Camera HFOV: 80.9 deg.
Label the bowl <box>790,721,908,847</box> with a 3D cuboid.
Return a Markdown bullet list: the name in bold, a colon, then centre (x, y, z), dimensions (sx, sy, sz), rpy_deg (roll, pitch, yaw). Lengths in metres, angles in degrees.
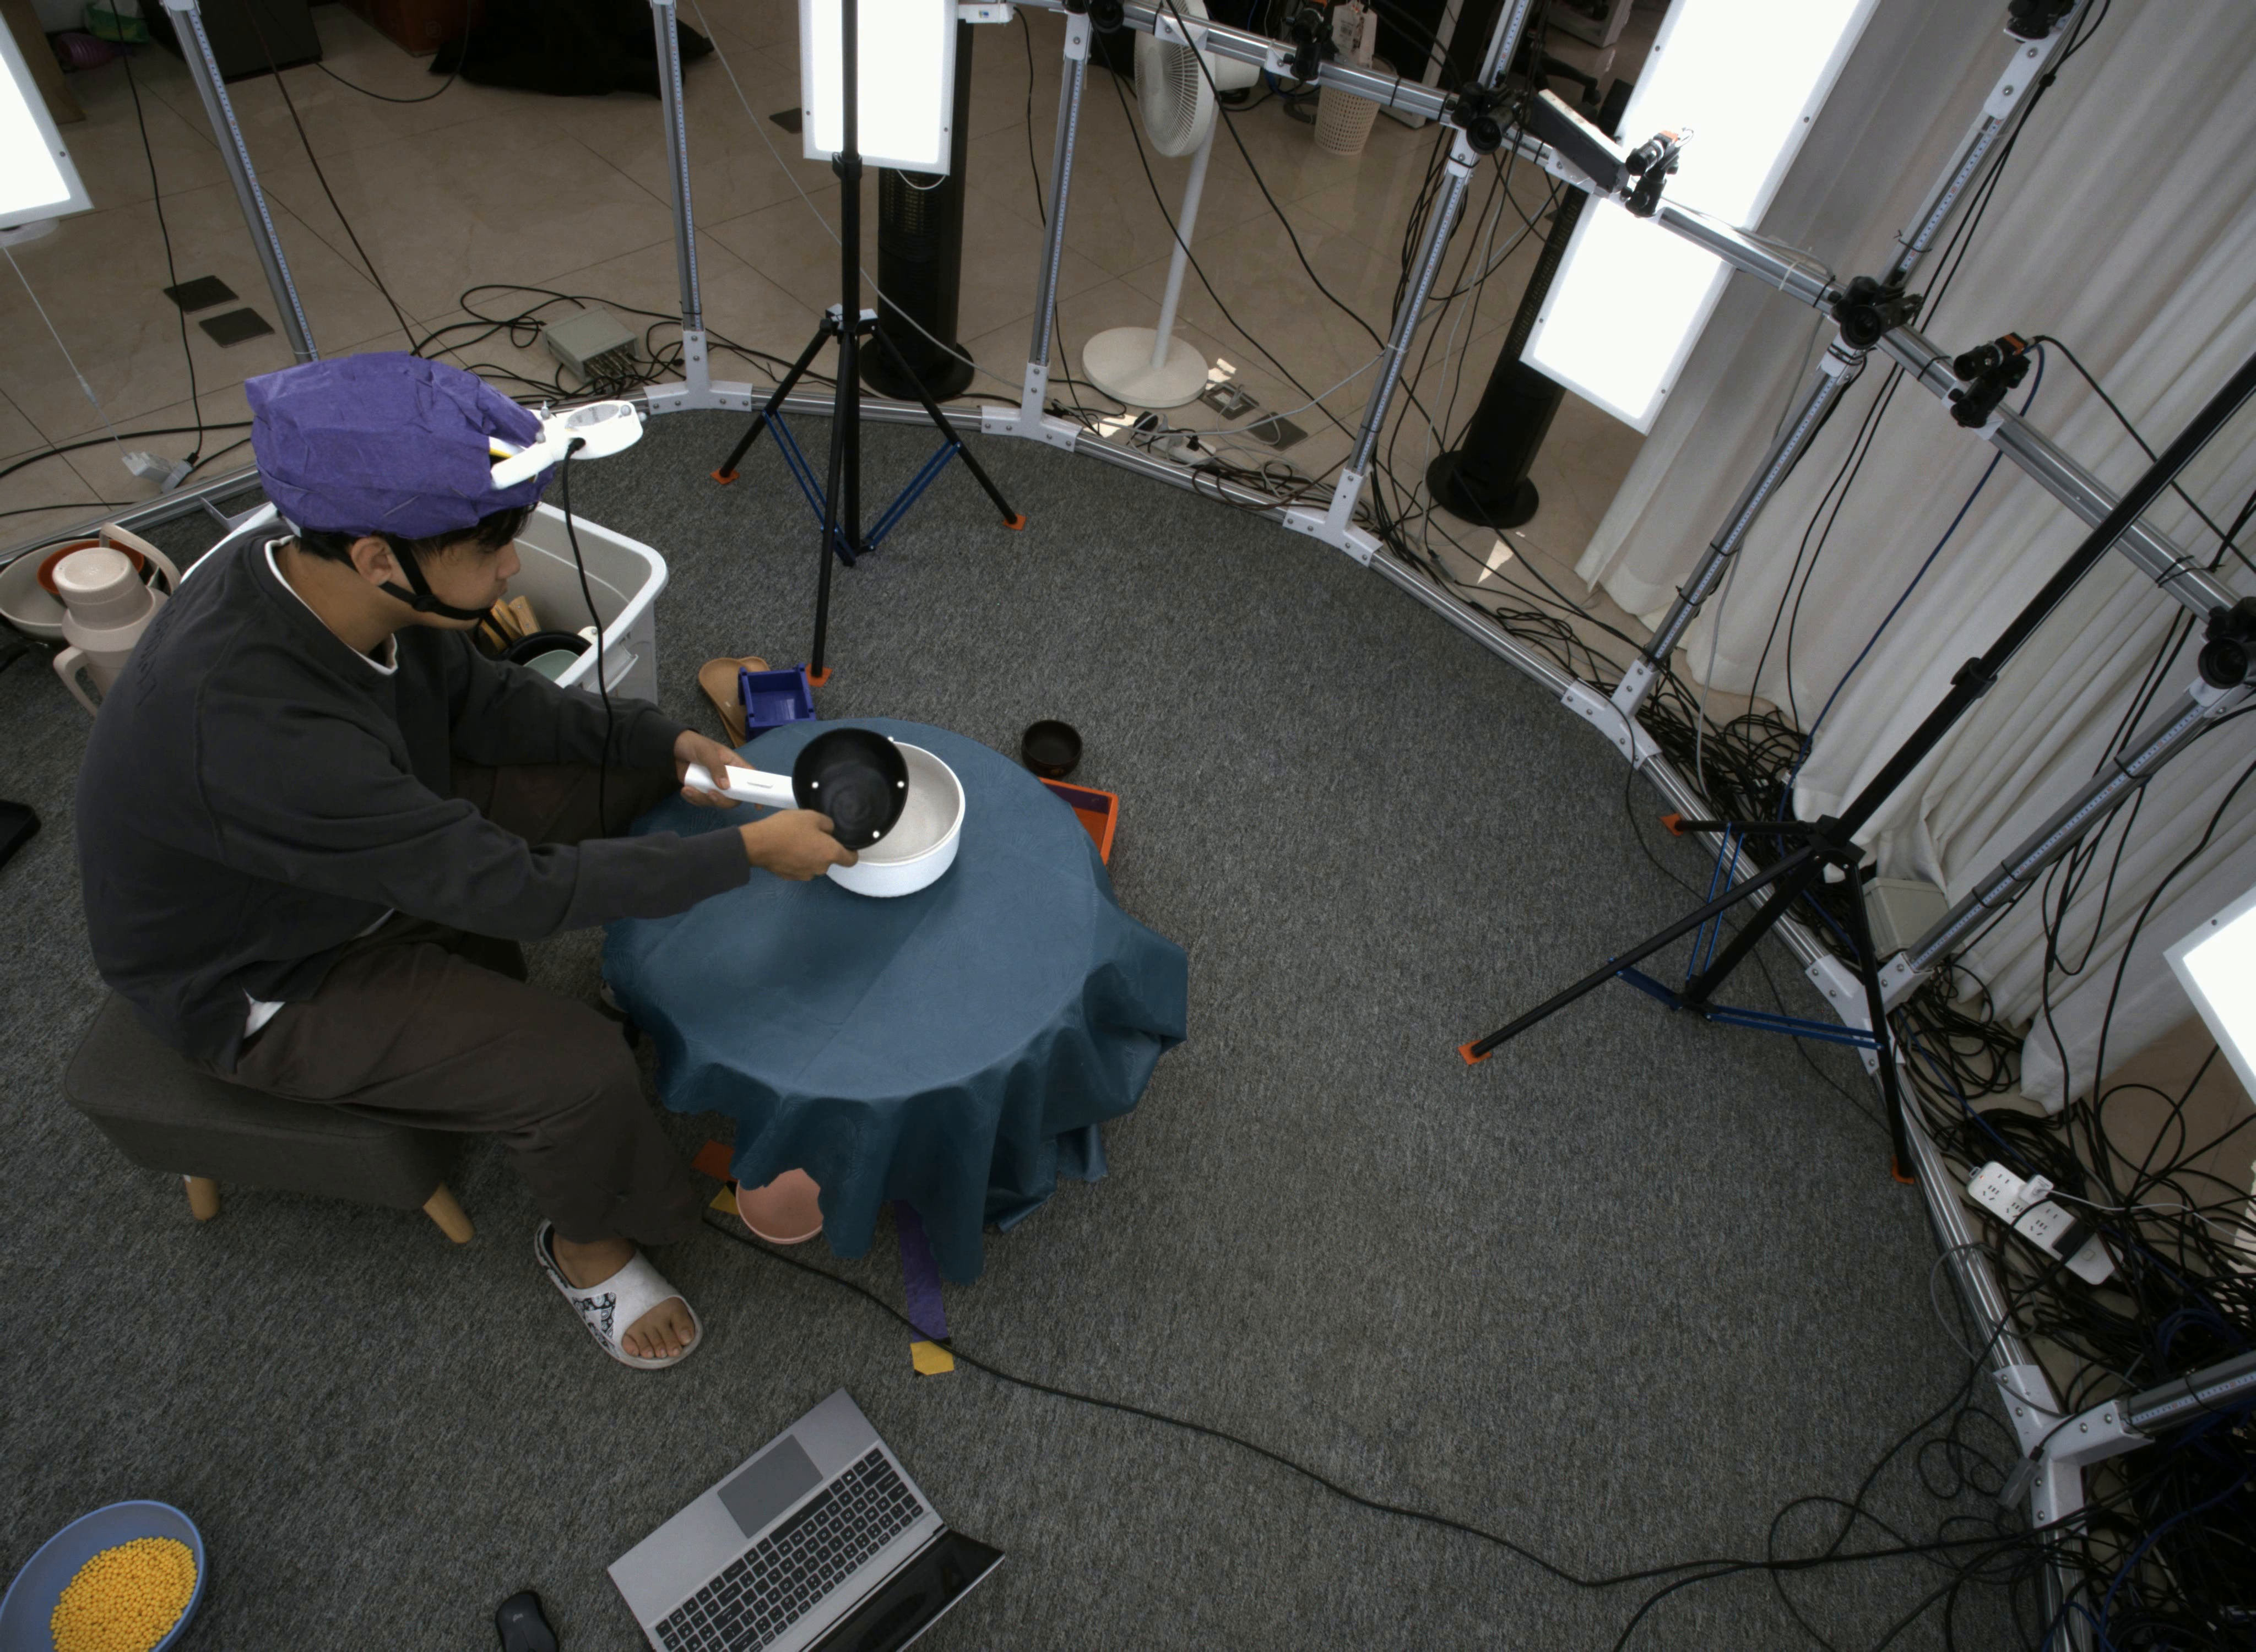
- **bowl**: centre (-0.332, -0.043, 1.560), dimensions (0.137, 0.068, 0.167), rpy_deg (-9, 62, -14)

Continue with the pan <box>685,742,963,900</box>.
- **pan**: centre (-0.390, -0.015, 1.683), dimensions (0.352, 0.104, 0.198), rpy_deg (9, 54, -4)
